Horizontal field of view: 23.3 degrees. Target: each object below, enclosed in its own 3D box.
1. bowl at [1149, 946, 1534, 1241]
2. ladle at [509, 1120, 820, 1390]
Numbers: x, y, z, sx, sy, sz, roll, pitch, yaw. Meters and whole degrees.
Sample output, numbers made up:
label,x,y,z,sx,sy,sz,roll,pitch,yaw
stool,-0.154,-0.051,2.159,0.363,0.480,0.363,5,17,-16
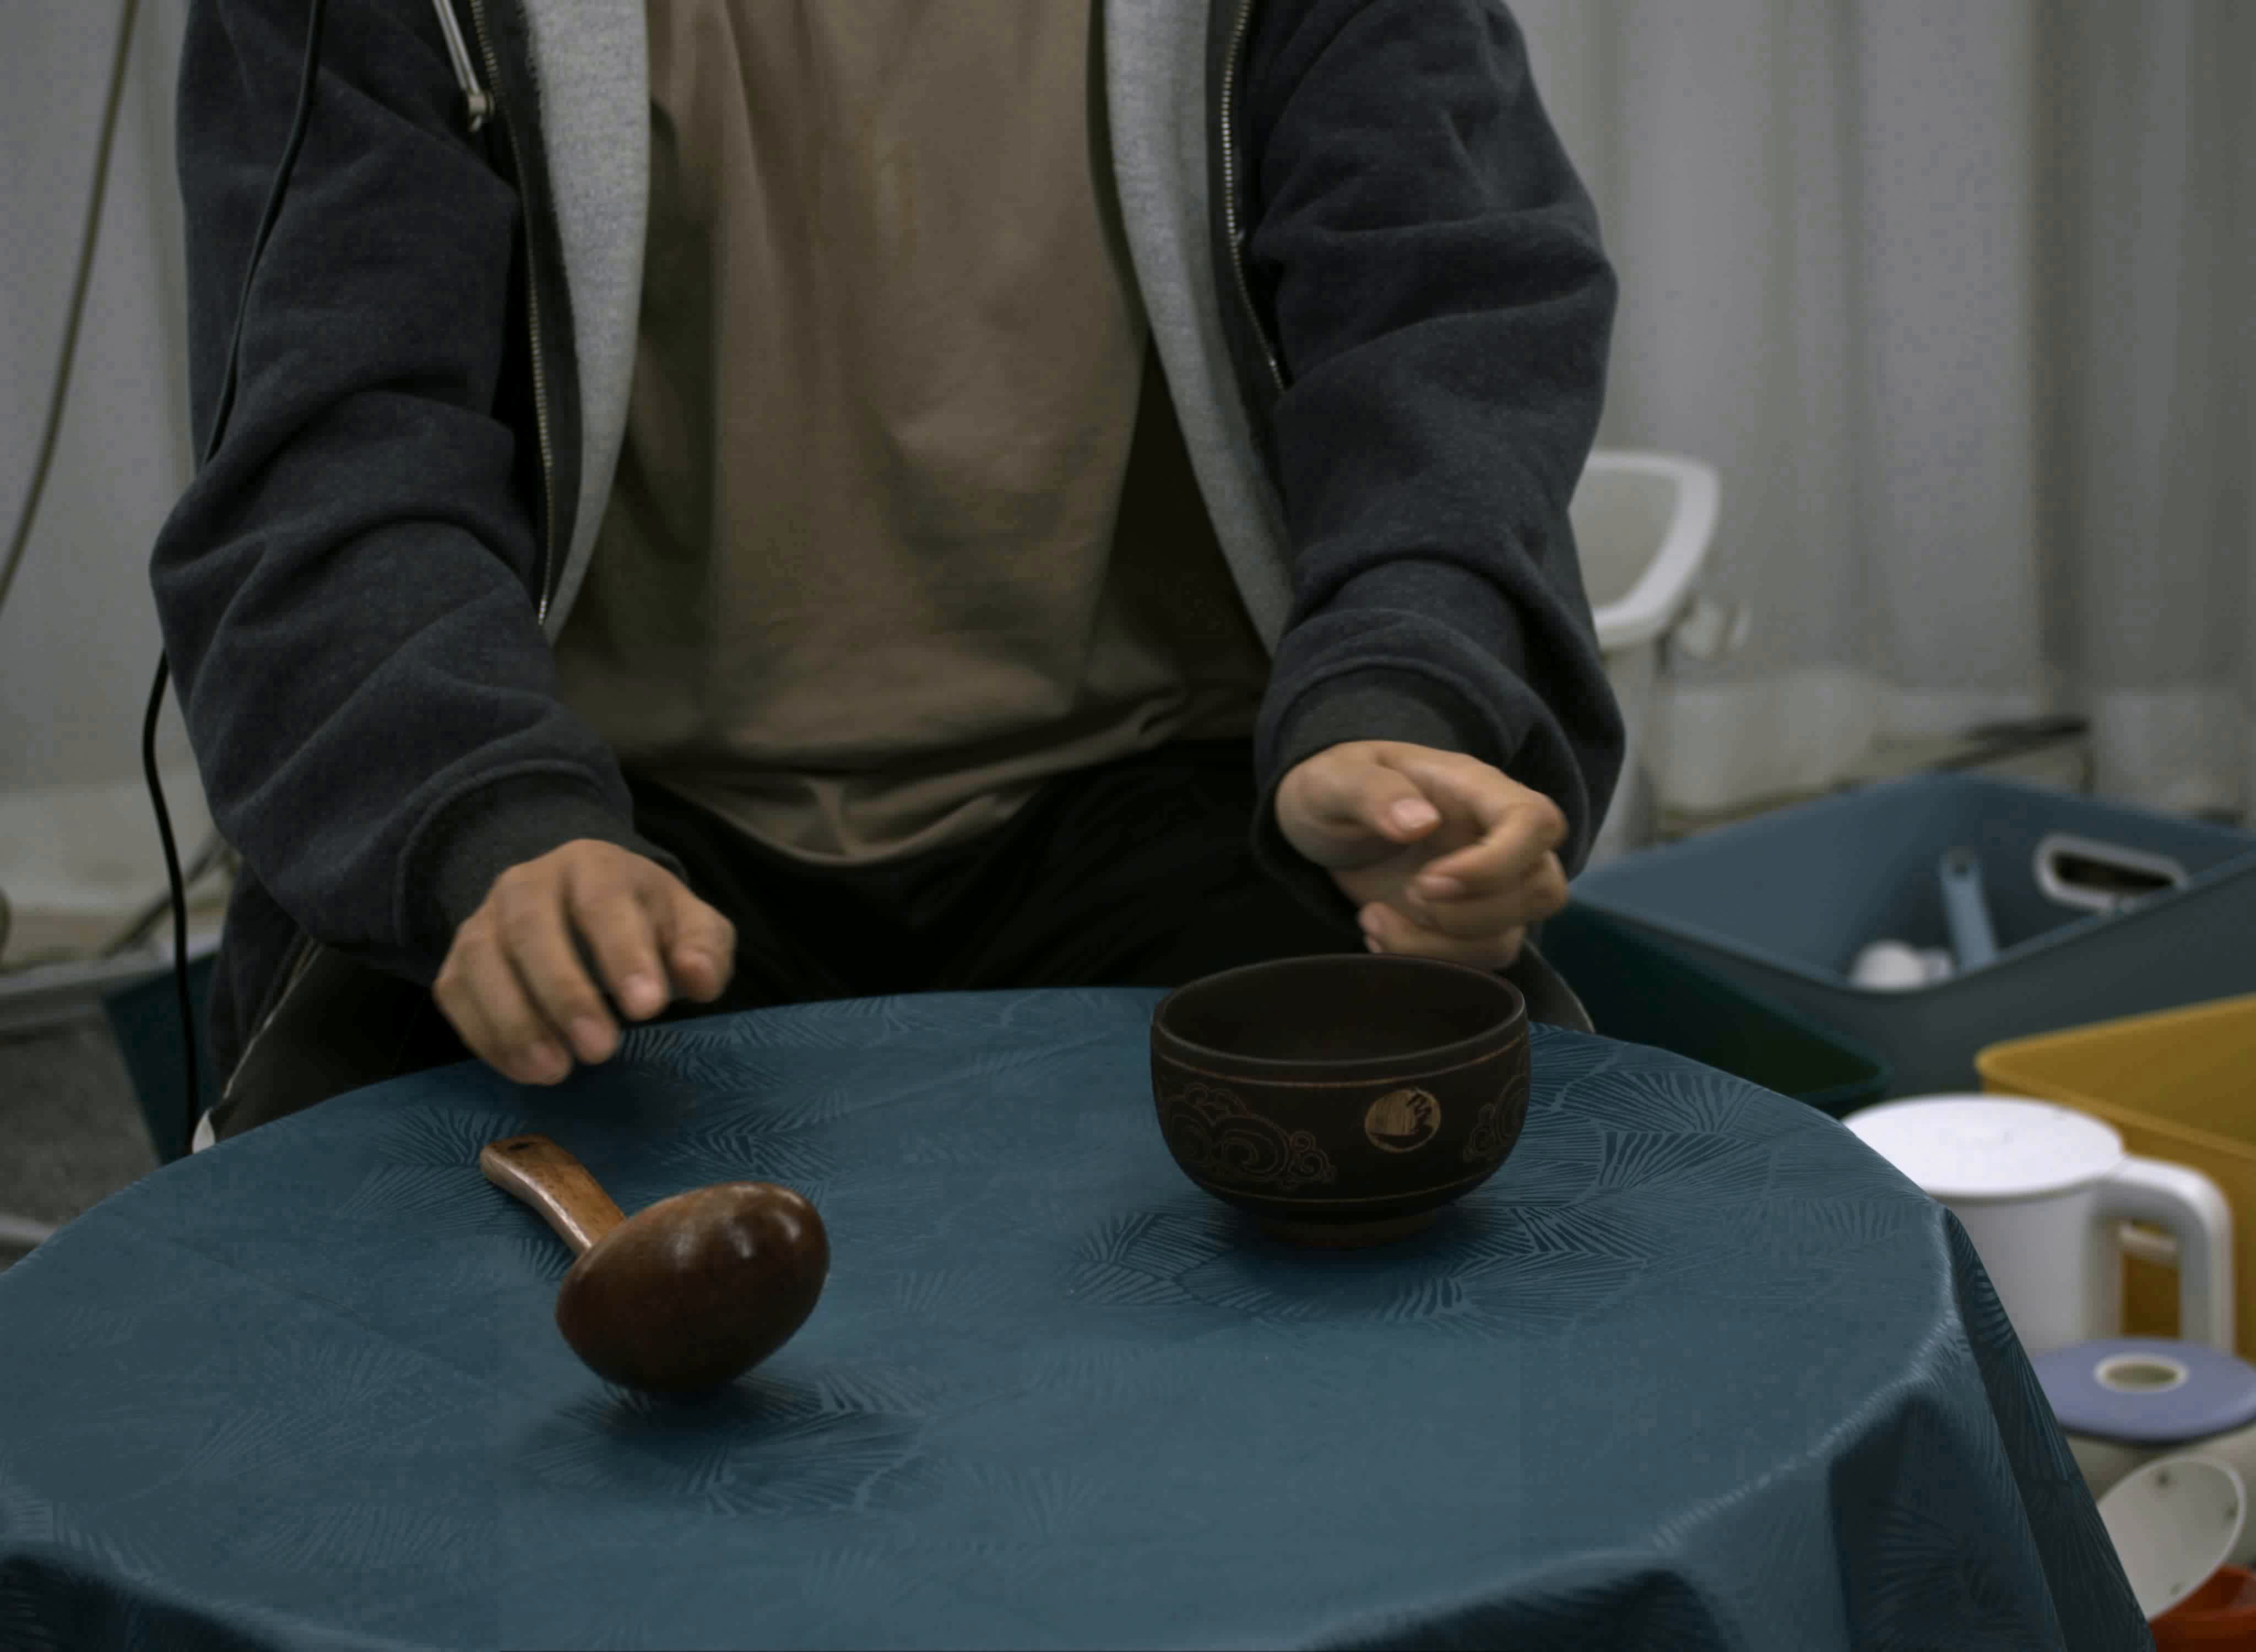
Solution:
label,x,y,z,sx,sy,sz,roll,pitch,yaw
bowl,0.066,0.085,1.670,0.117,0.069,0.119,-3,14,0
ladle,-0.157,0.104,1.634,0.081,0.076,0.276,-12,17,-15
